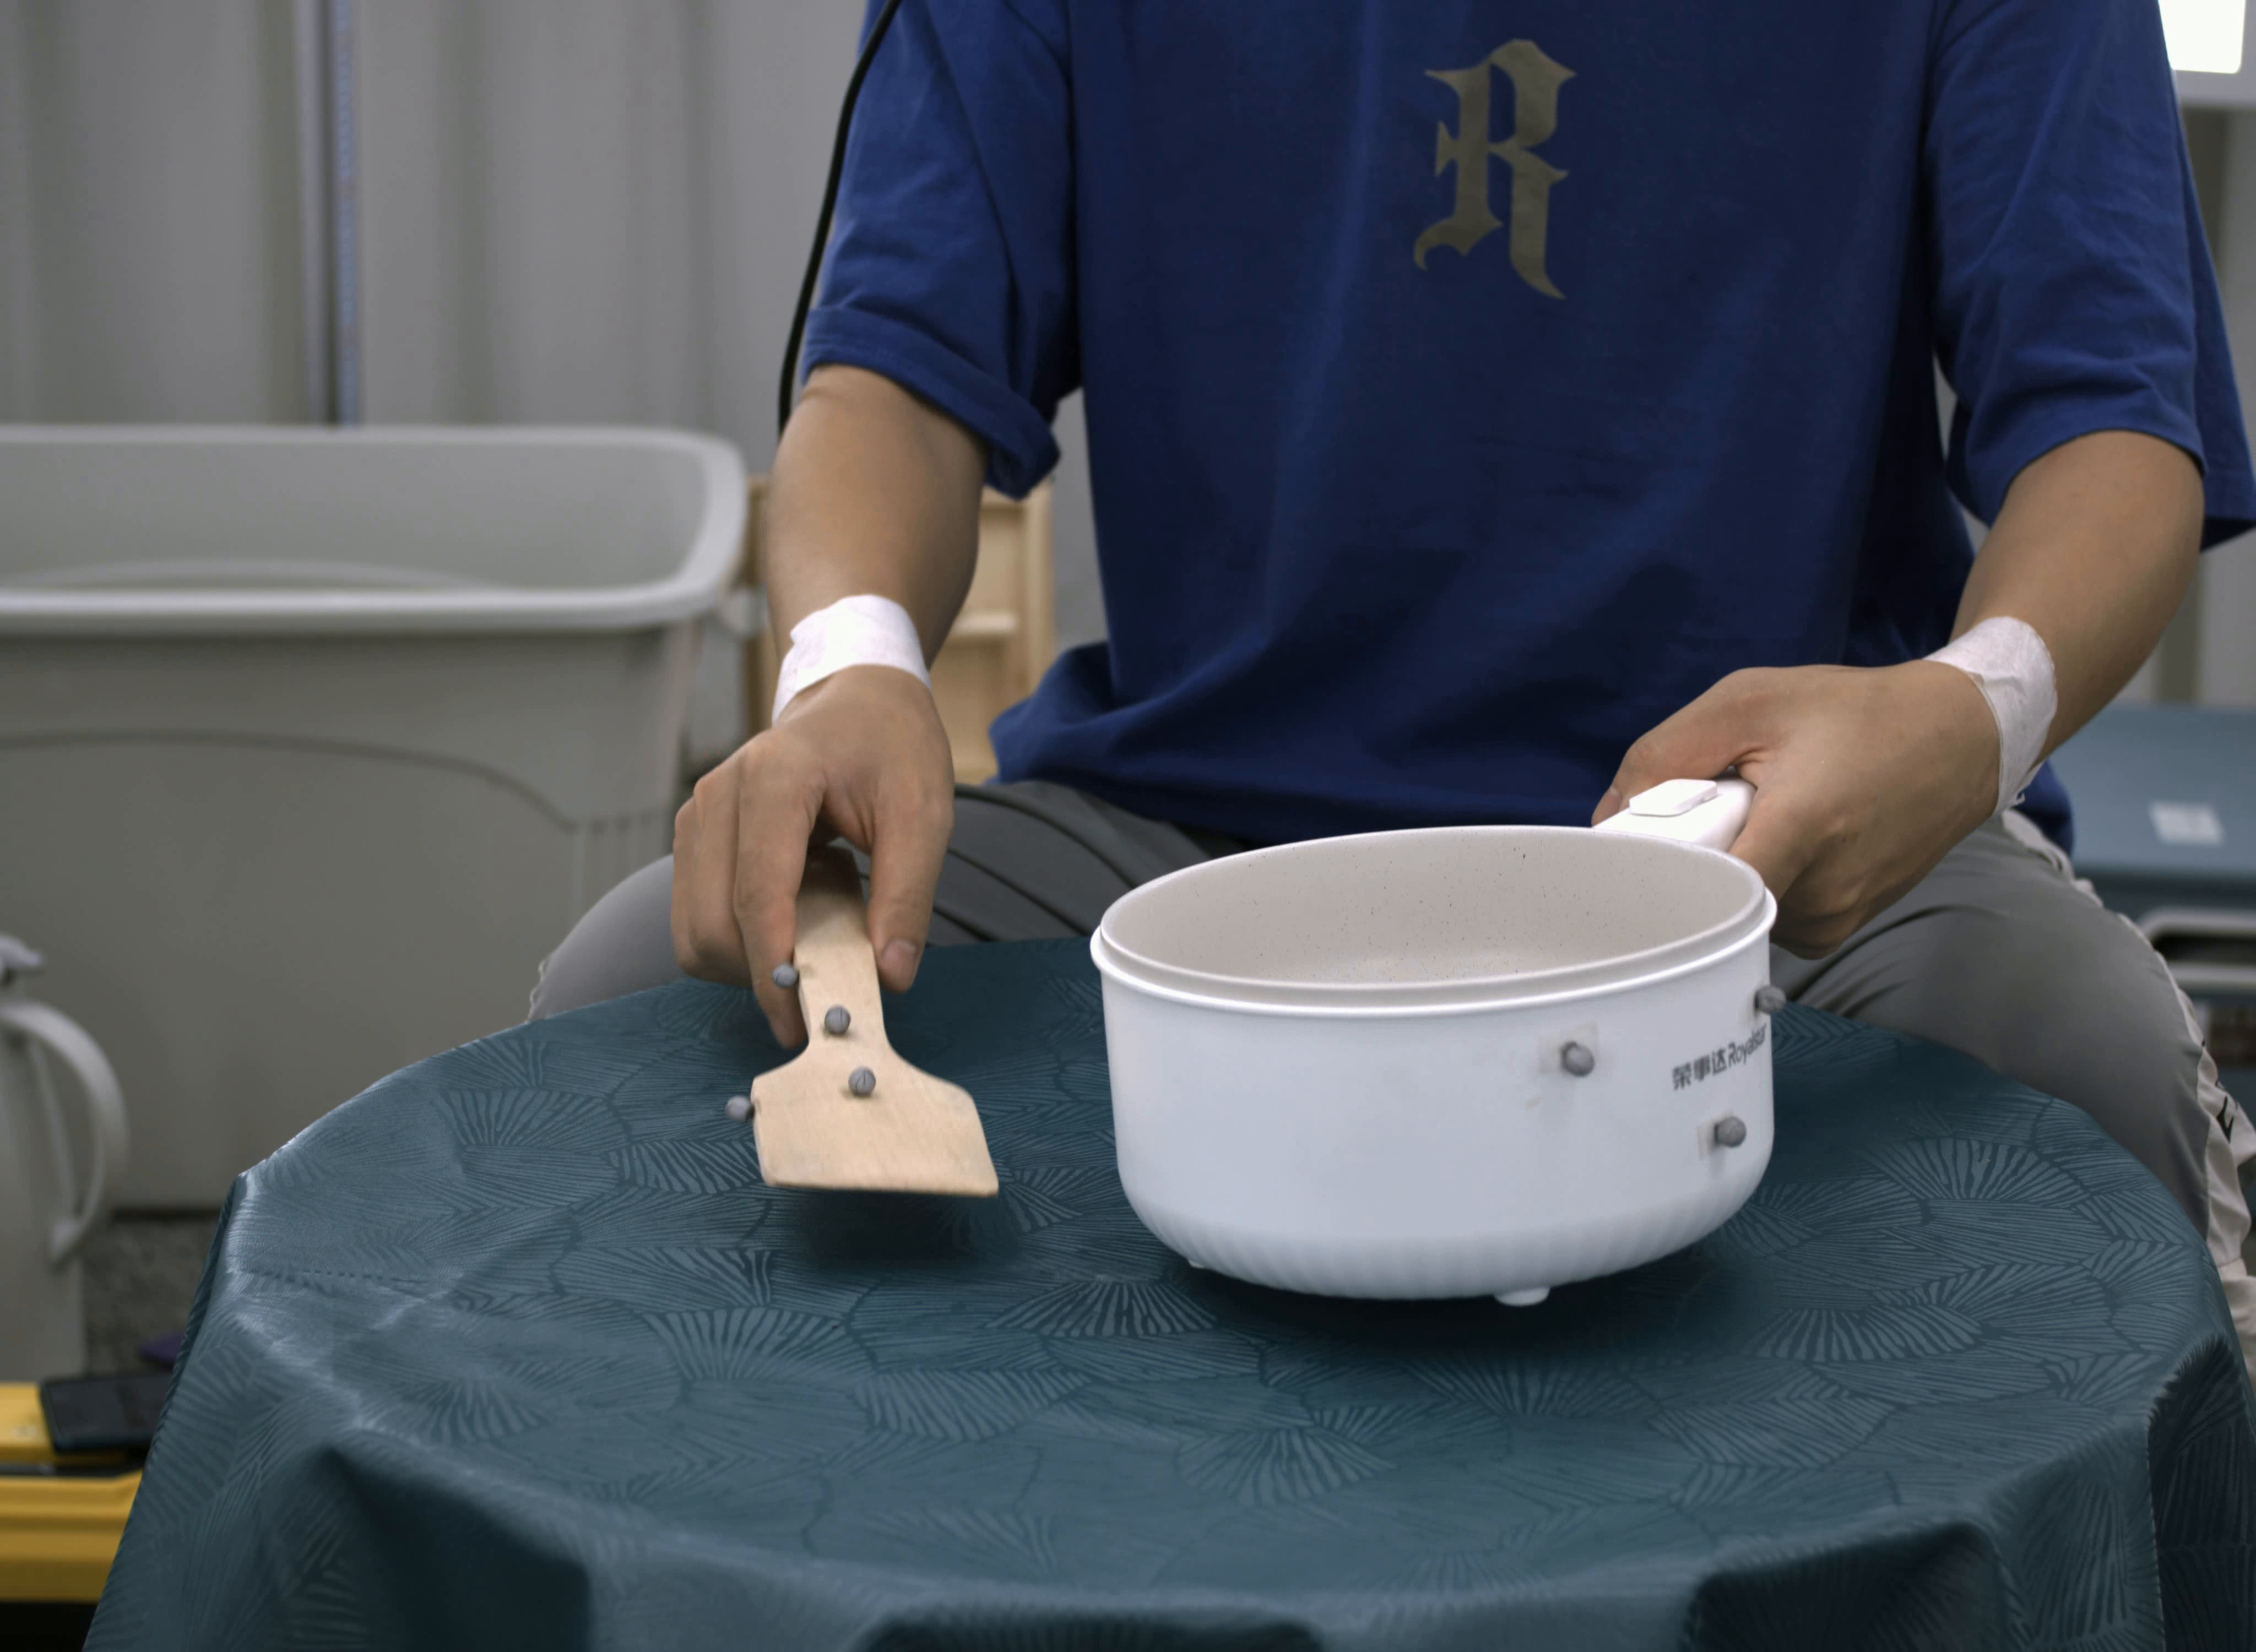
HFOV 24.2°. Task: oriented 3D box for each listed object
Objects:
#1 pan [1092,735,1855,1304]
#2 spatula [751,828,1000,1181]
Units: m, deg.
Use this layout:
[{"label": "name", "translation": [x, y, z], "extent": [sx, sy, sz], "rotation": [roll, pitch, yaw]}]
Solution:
[{"label": "pan", "translation": [0.132, 0.055, 1.611], "extent": [0.199, 0.103, 0.356], "rotation": [2, 14, 31]}, {"label": "spatula", "translation": [-0.090, 0.054, 1.681], "extent": [0.072, 0.011, 0.290], "rotation": [2, 20, -9]}]
